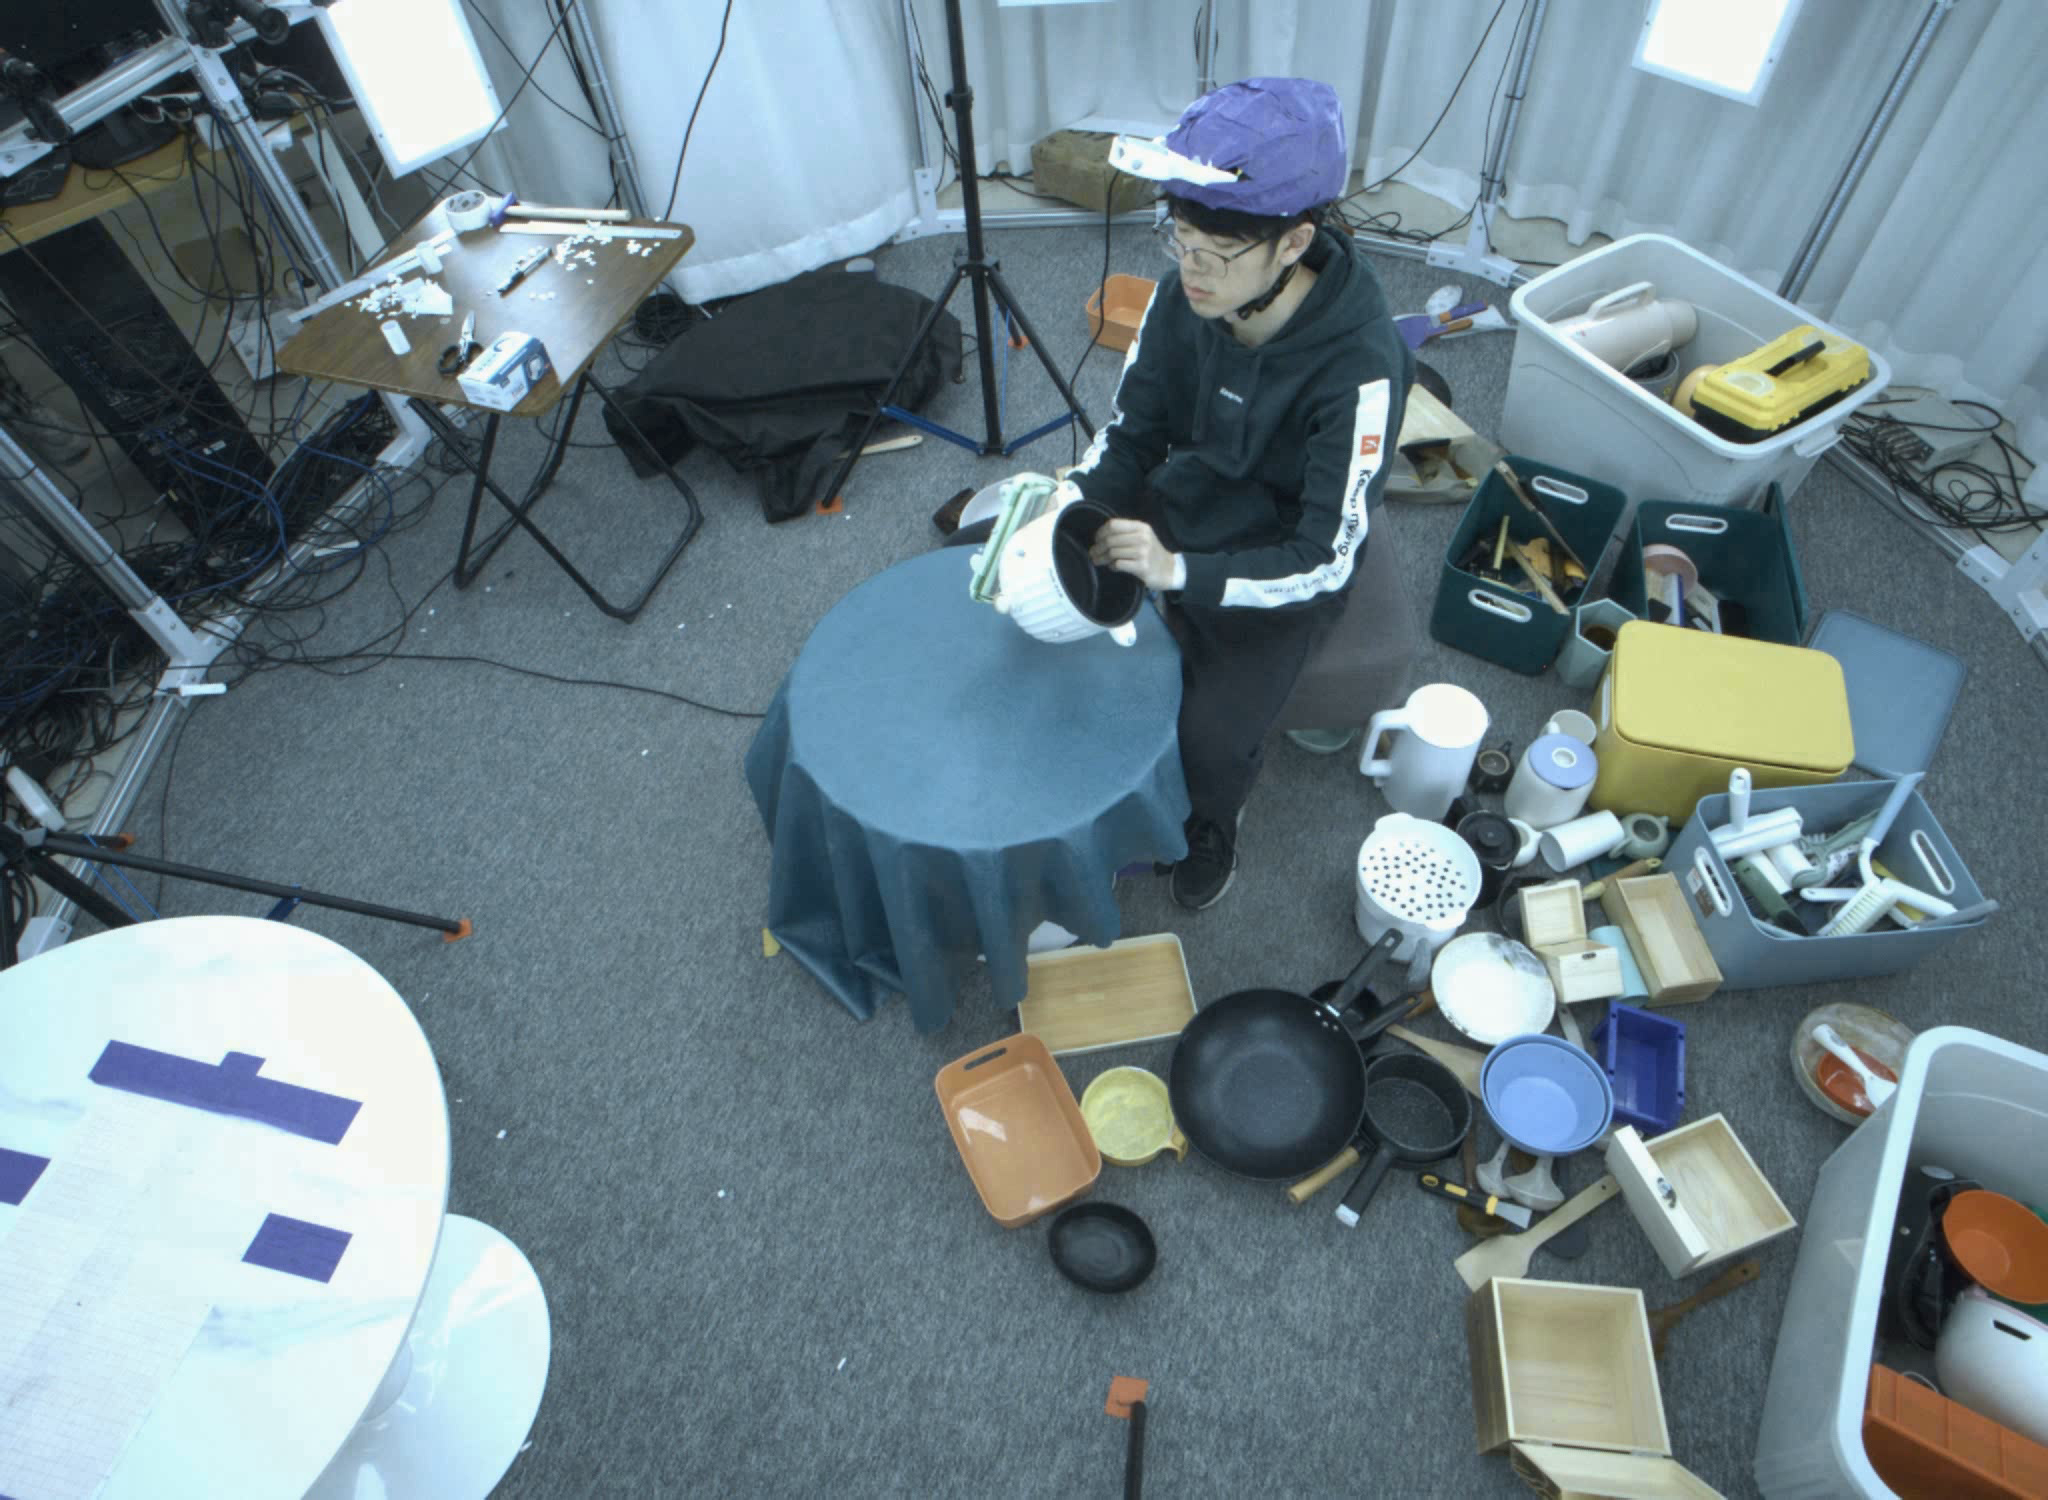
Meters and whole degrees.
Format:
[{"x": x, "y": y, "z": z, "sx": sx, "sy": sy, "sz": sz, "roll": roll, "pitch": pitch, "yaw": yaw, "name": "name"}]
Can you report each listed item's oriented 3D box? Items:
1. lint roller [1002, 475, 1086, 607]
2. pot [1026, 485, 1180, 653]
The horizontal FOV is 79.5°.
[{"x": 0.040, "y": -0.319, "z": 1.805, "sx": 0.081, "sy": 0.198, "sz": 0.184, "roll": 30, "pitch": 28, "yaw": 10, "name": "lint roller"}, {"x": 0.101, "y": -0.230, "z": 1.693, "sx": 0.140, "sy": 0.241, "sz": 0.193, "roll": -15, "pitch": 11, "yaw": 43, "name": "pot"}]
